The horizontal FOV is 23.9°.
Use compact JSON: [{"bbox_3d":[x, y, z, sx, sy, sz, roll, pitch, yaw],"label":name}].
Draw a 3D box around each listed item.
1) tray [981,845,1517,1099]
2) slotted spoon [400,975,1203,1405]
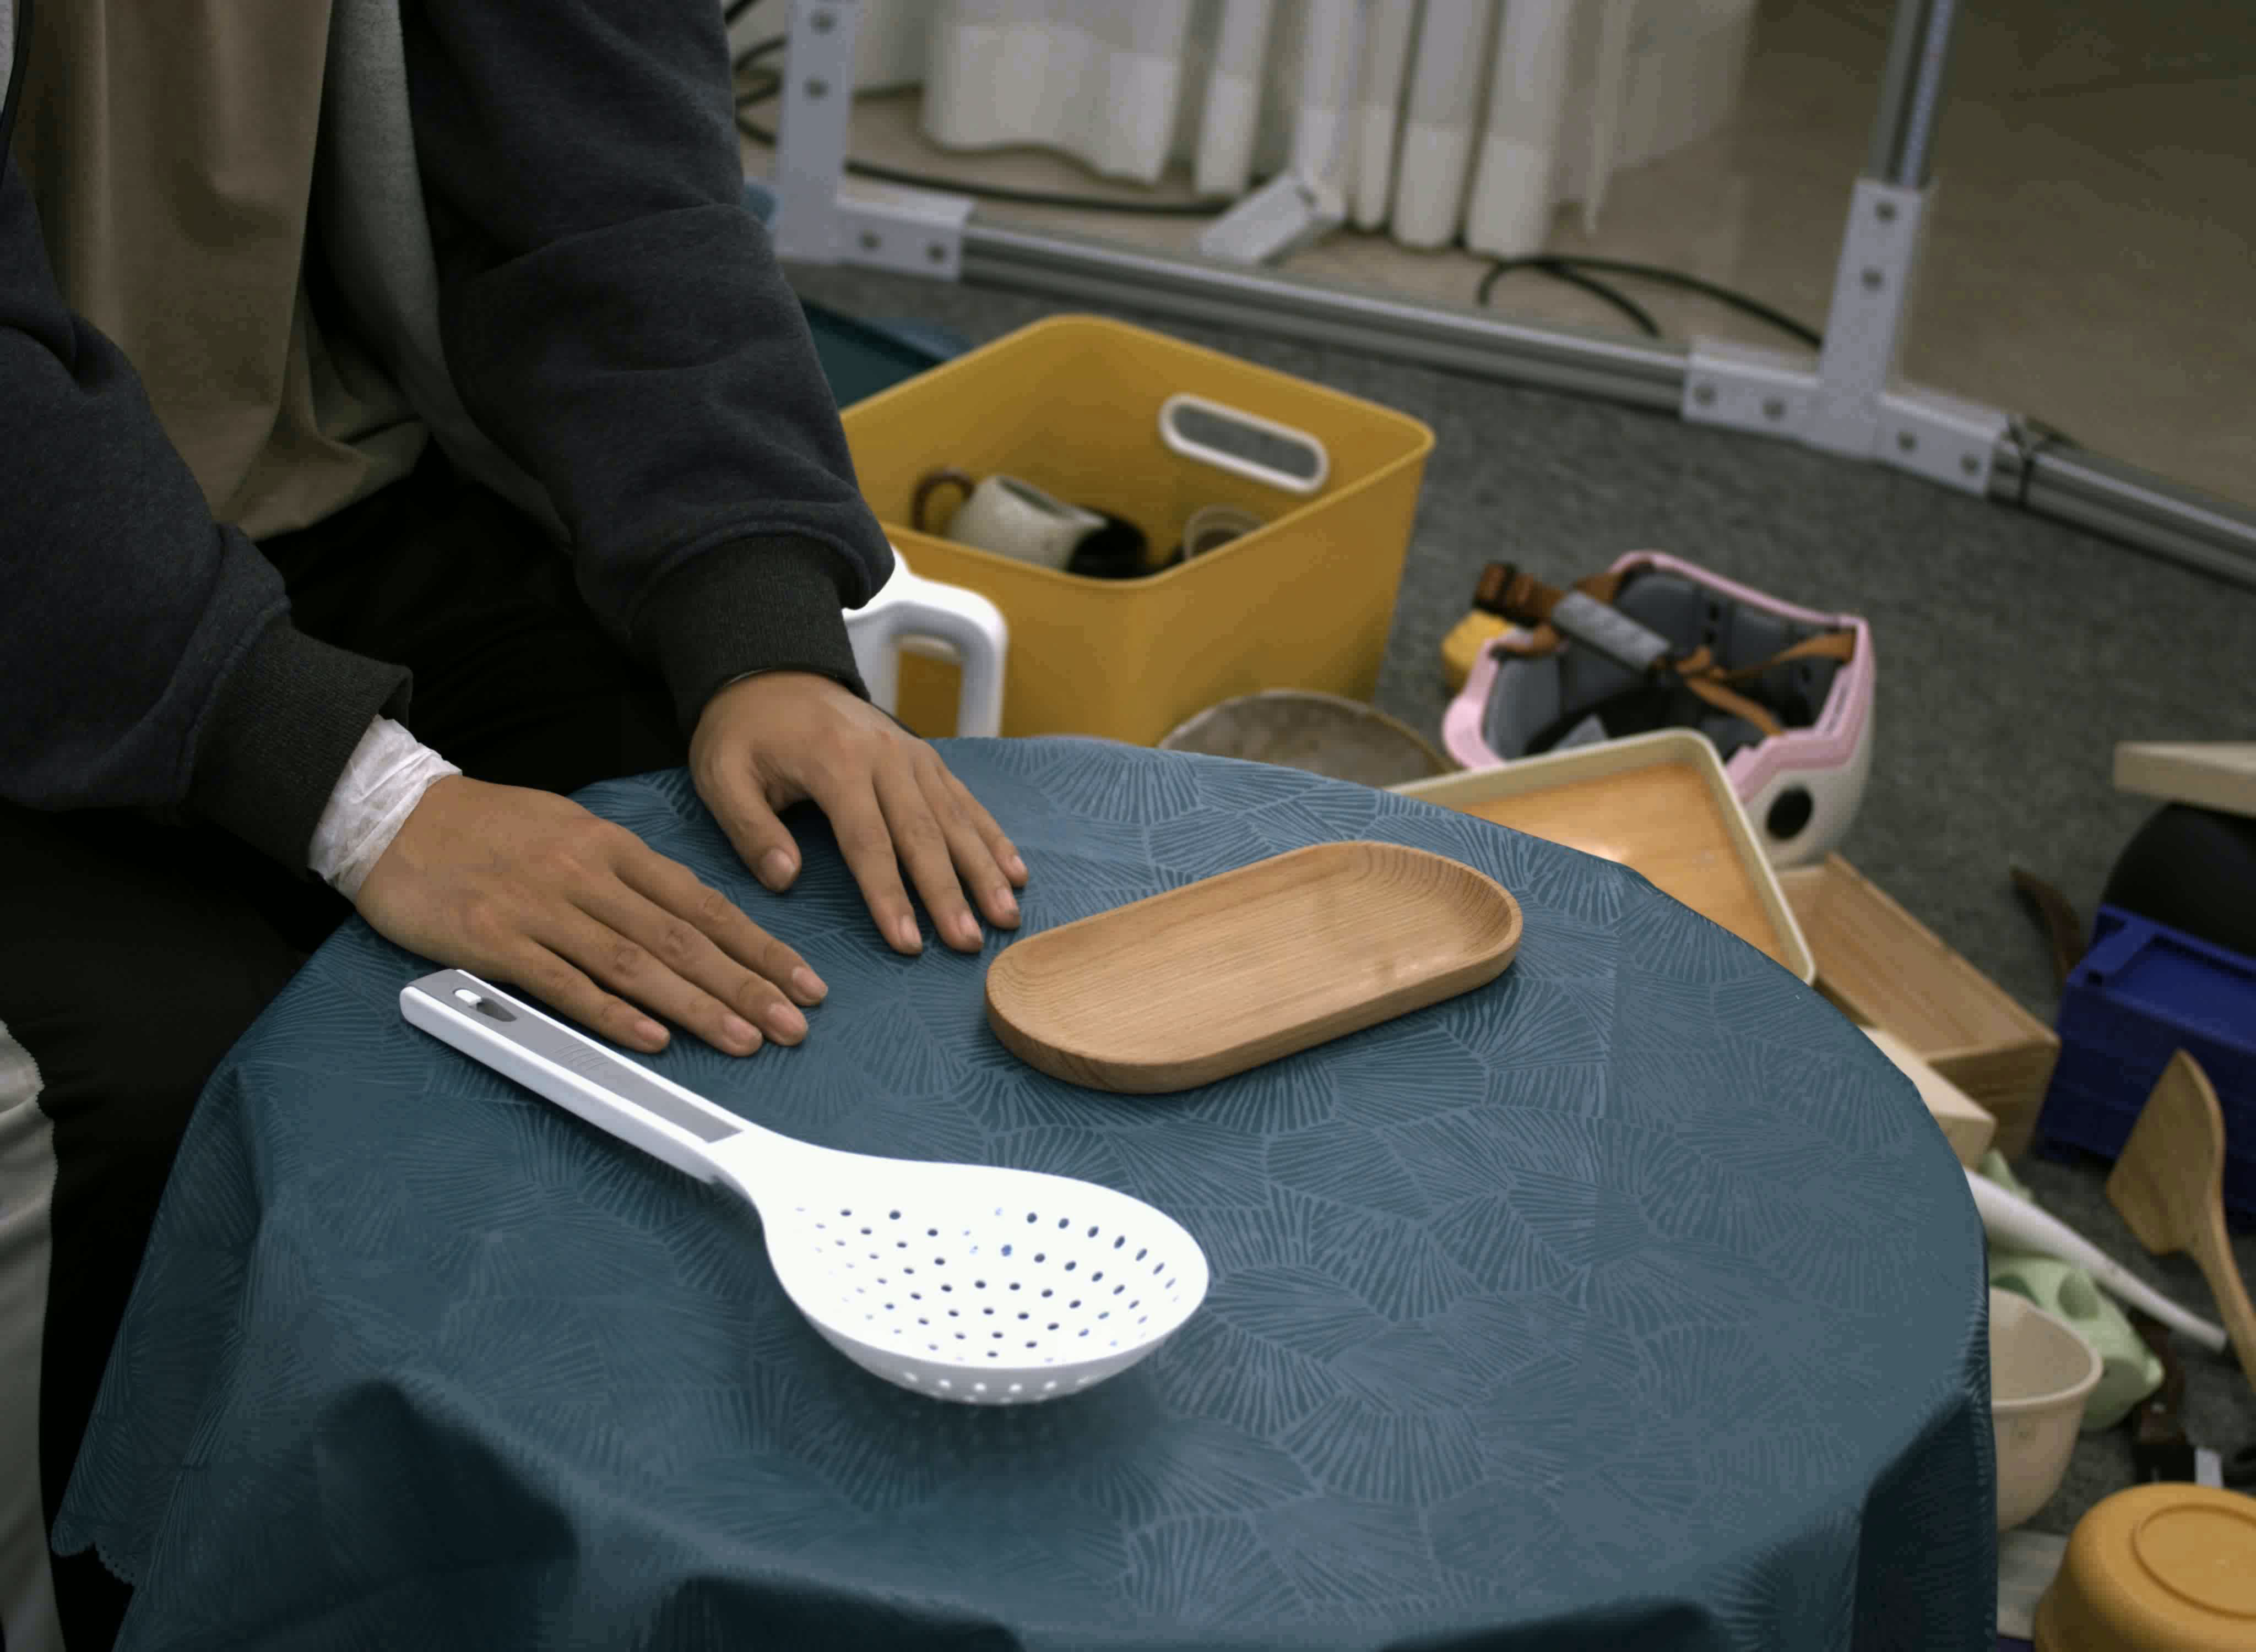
[{"bbox_3d":[0.046,0.052,1.934,0.230,0.020,0.102,-19,35,-39],"label":"tray"},{"bbox_3d":[-0.122,0.113,1.745,0.352,0.045,0.135,28,32,37],"label":"slotted spoon"}]
